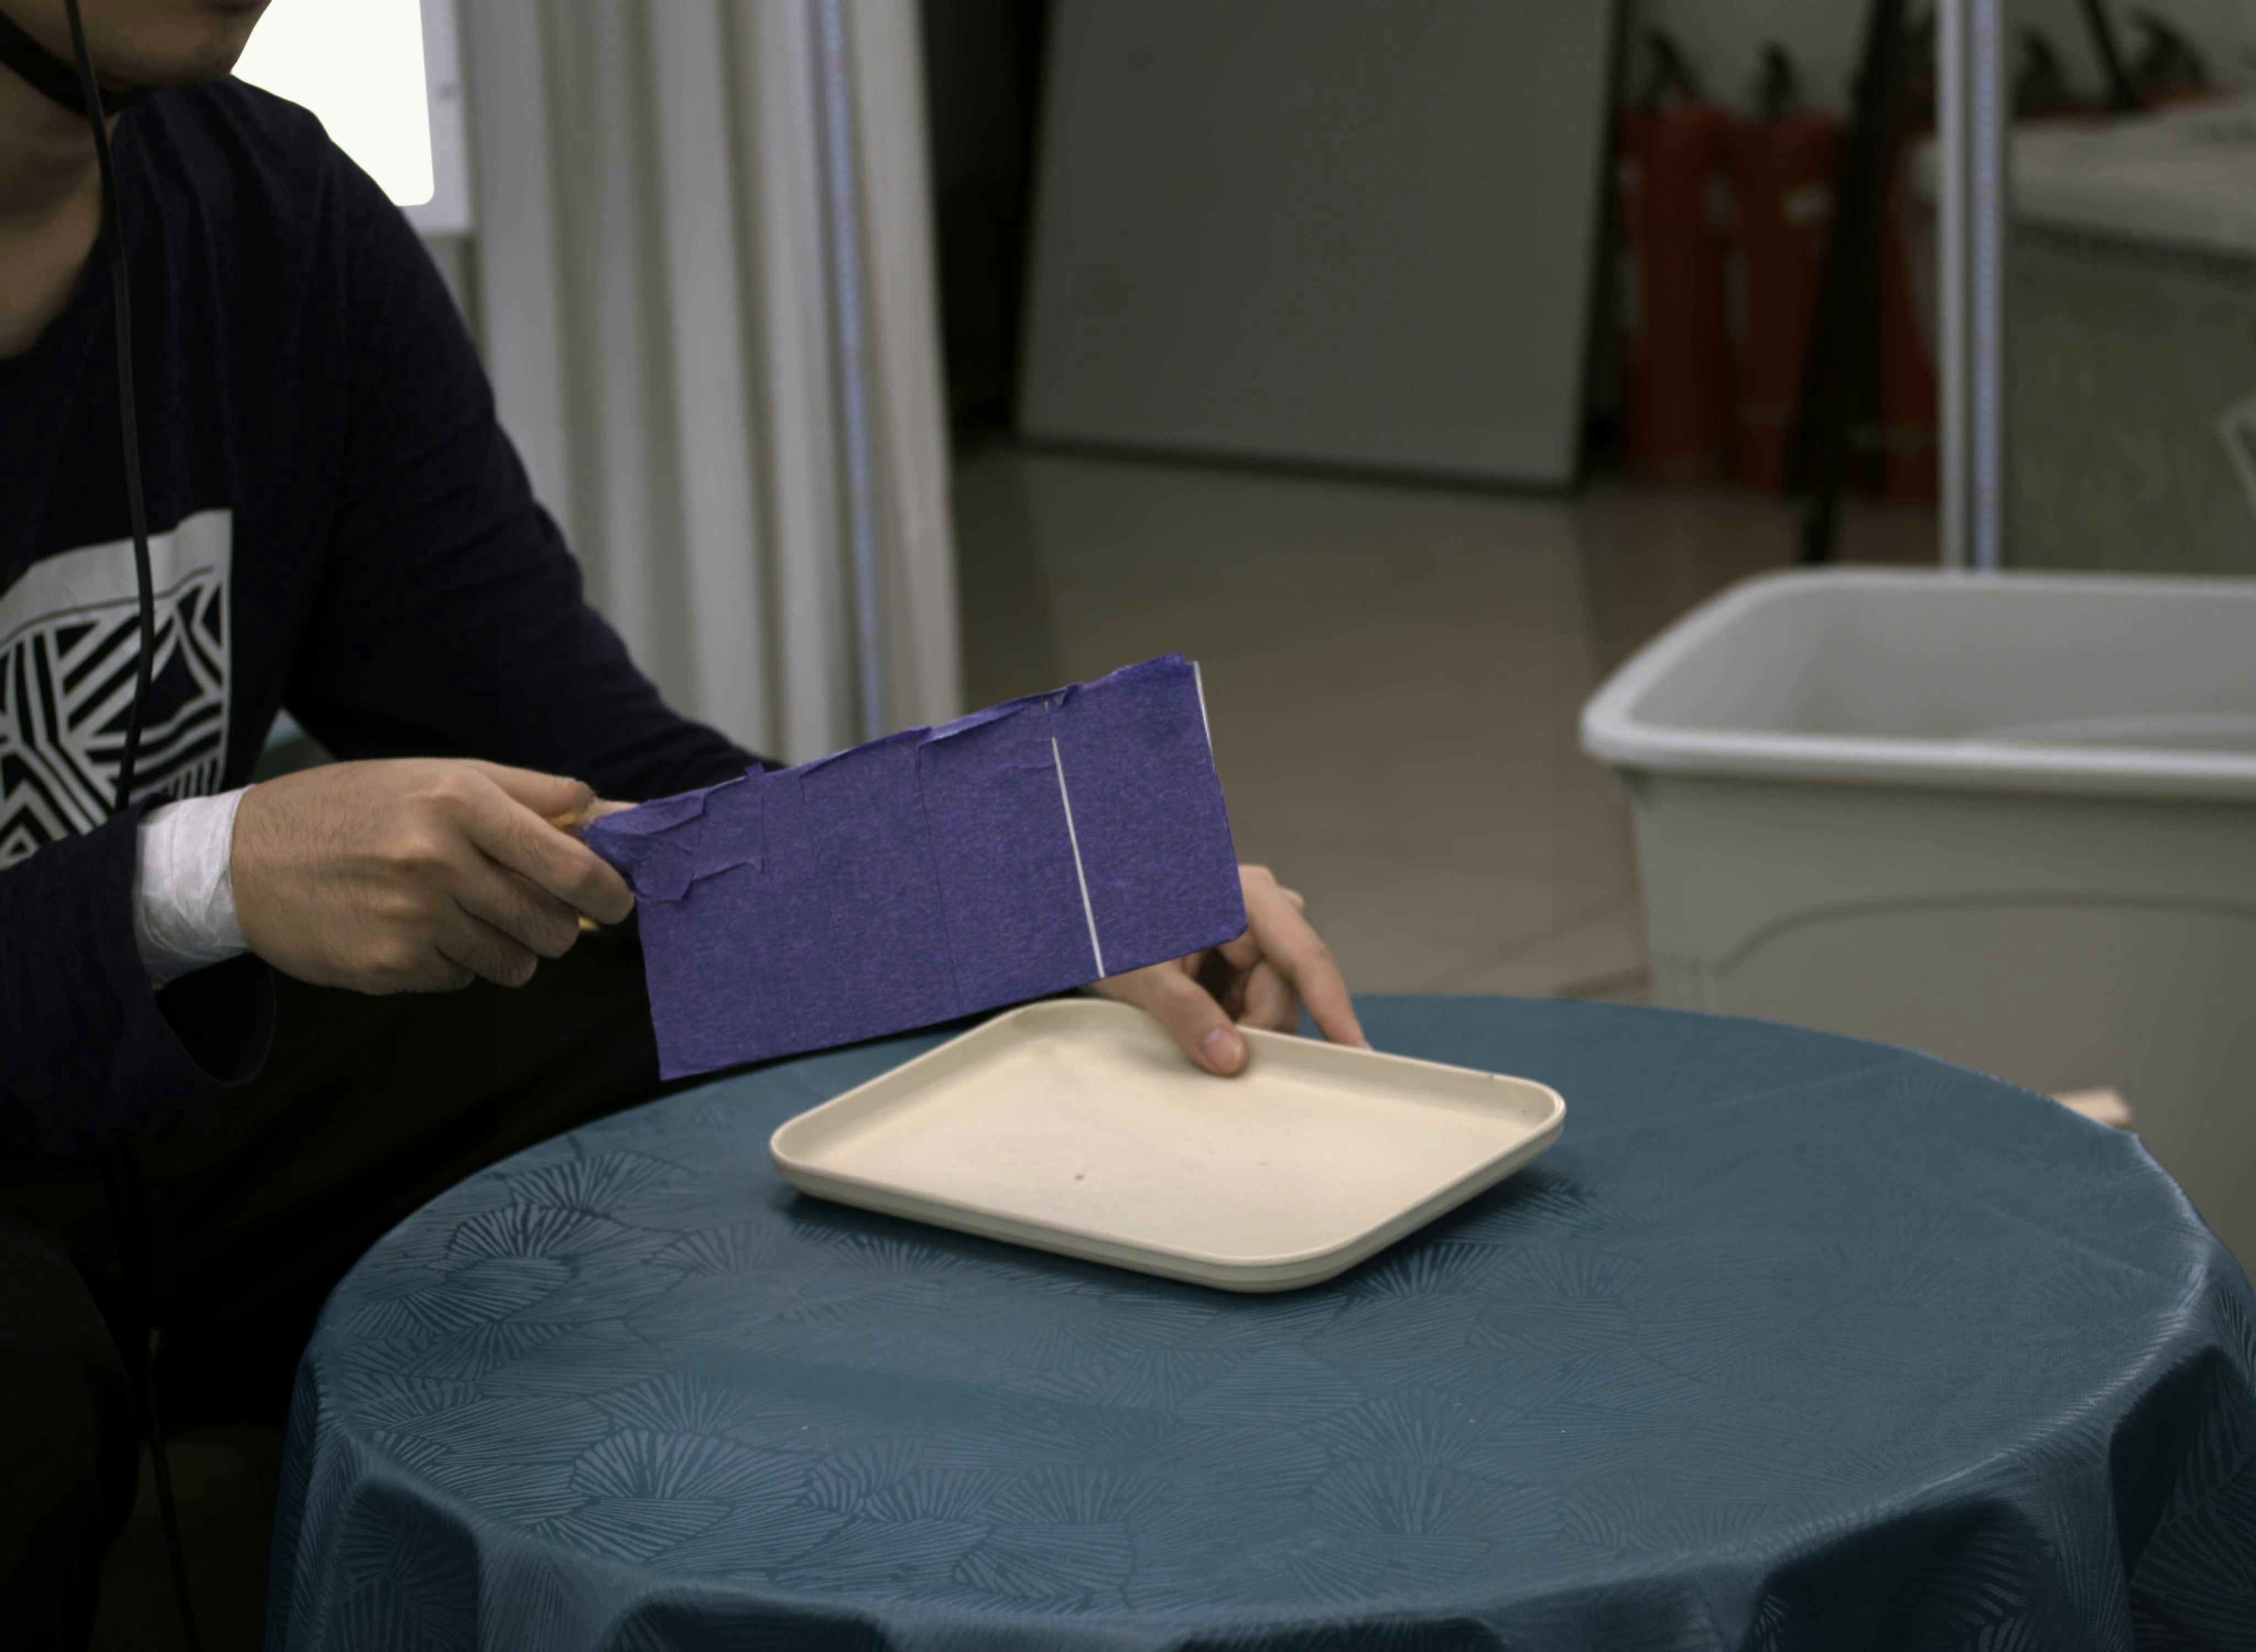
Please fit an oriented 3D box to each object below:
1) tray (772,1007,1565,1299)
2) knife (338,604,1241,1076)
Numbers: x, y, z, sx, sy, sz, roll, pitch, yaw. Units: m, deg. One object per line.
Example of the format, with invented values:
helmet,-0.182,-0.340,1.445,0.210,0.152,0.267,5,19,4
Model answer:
tray,0.013,0.106,1.773,0.241,0.017,0.168,8,24,41
knife,-0.109,0.023,1.673,0.316,0.105,0.031,-17,-17,27
